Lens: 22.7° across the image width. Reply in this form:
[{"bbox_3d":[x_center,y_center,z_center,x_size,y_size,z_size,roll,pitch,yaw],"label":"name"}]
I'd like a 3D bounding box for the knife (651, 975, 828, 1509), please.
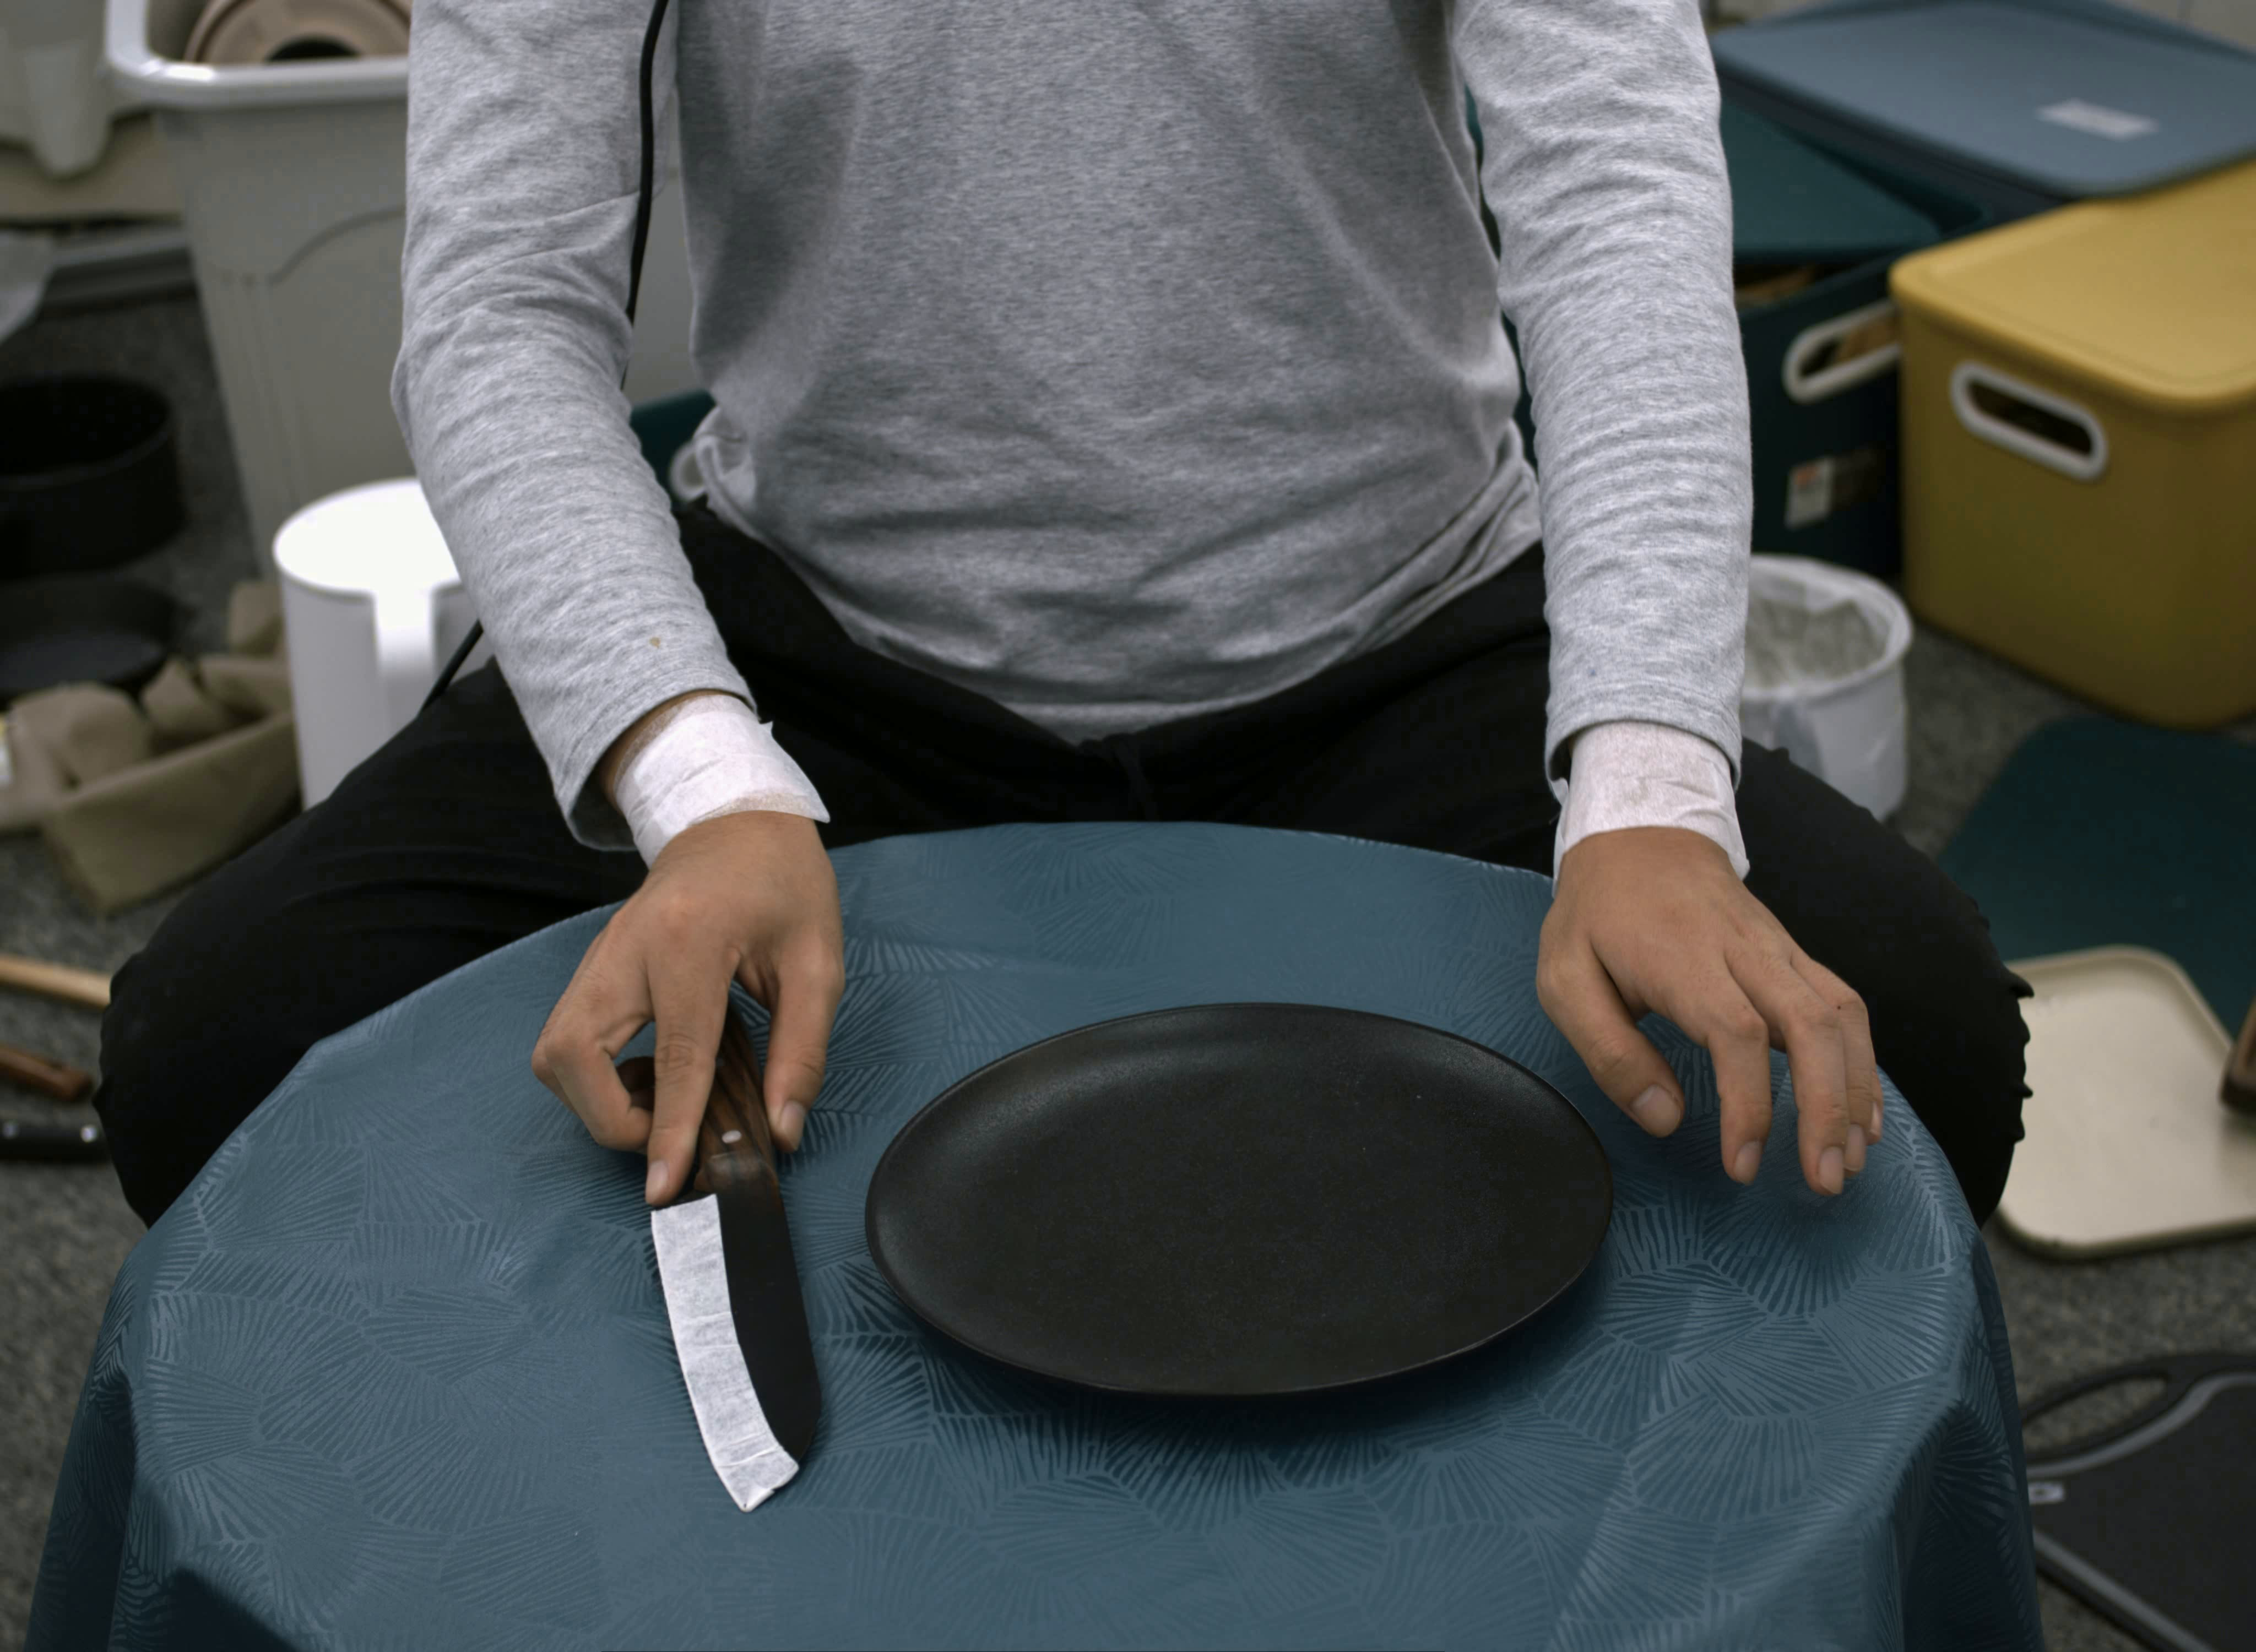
[{"bbox_3d":[-0.131,0.133,1.827,0.050,0.020,0.293,-15,32,0],"label":"knife"}]

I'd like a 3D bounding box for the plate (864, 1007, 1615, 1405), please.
[{"bbox_3d":[0.036,0.127,1.823,0.243,0.023,0.248,-2,27,1],"label":"plate"}]
